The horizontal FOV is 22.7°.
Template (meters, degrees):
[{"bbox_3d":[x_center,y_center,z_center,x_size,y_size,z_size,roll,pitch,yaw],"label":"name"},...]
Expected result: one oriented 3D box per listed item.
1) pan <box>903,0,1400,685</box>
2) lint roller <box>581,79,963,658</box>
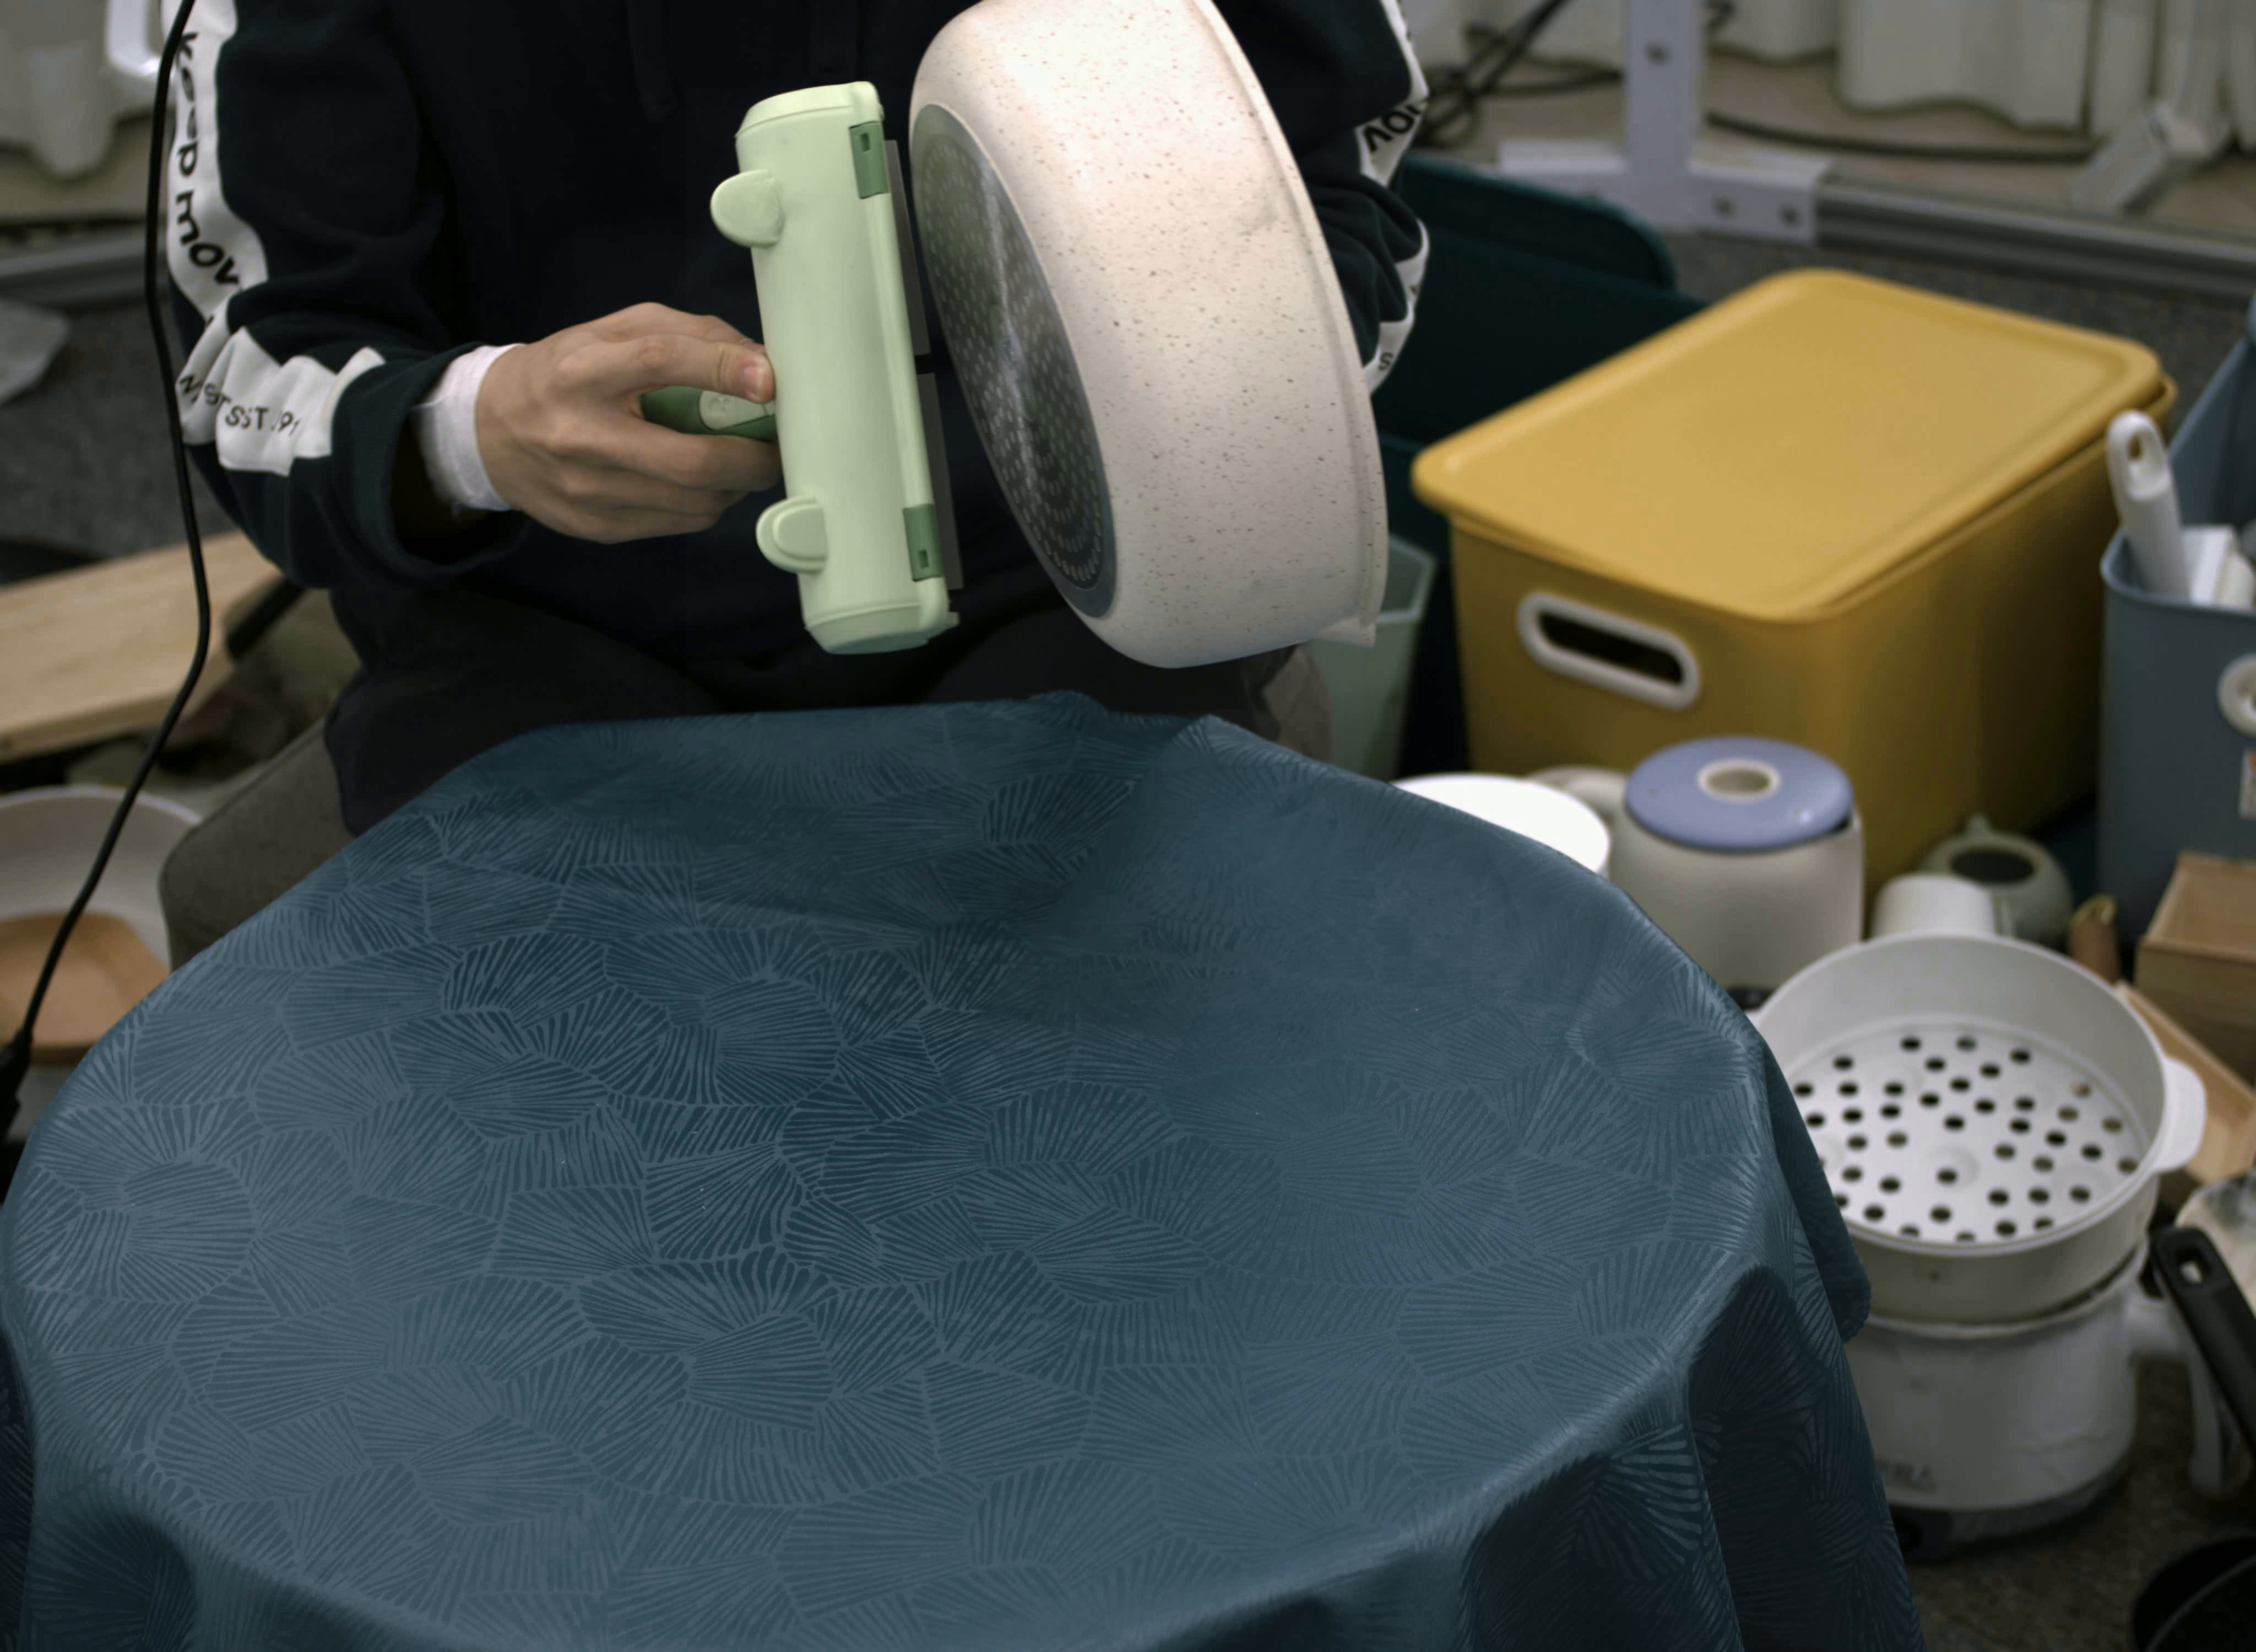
[{"bbox_3d":[-0.008,-0.152,1.985,0.102,0.265,0.431,-22,-5,-12],"label":"pan"},{"bbox_3d":[-0.145,-0.149,1.995,0.181,0.200,0.082,-13,-6,36],"label":"lint roller"}]
